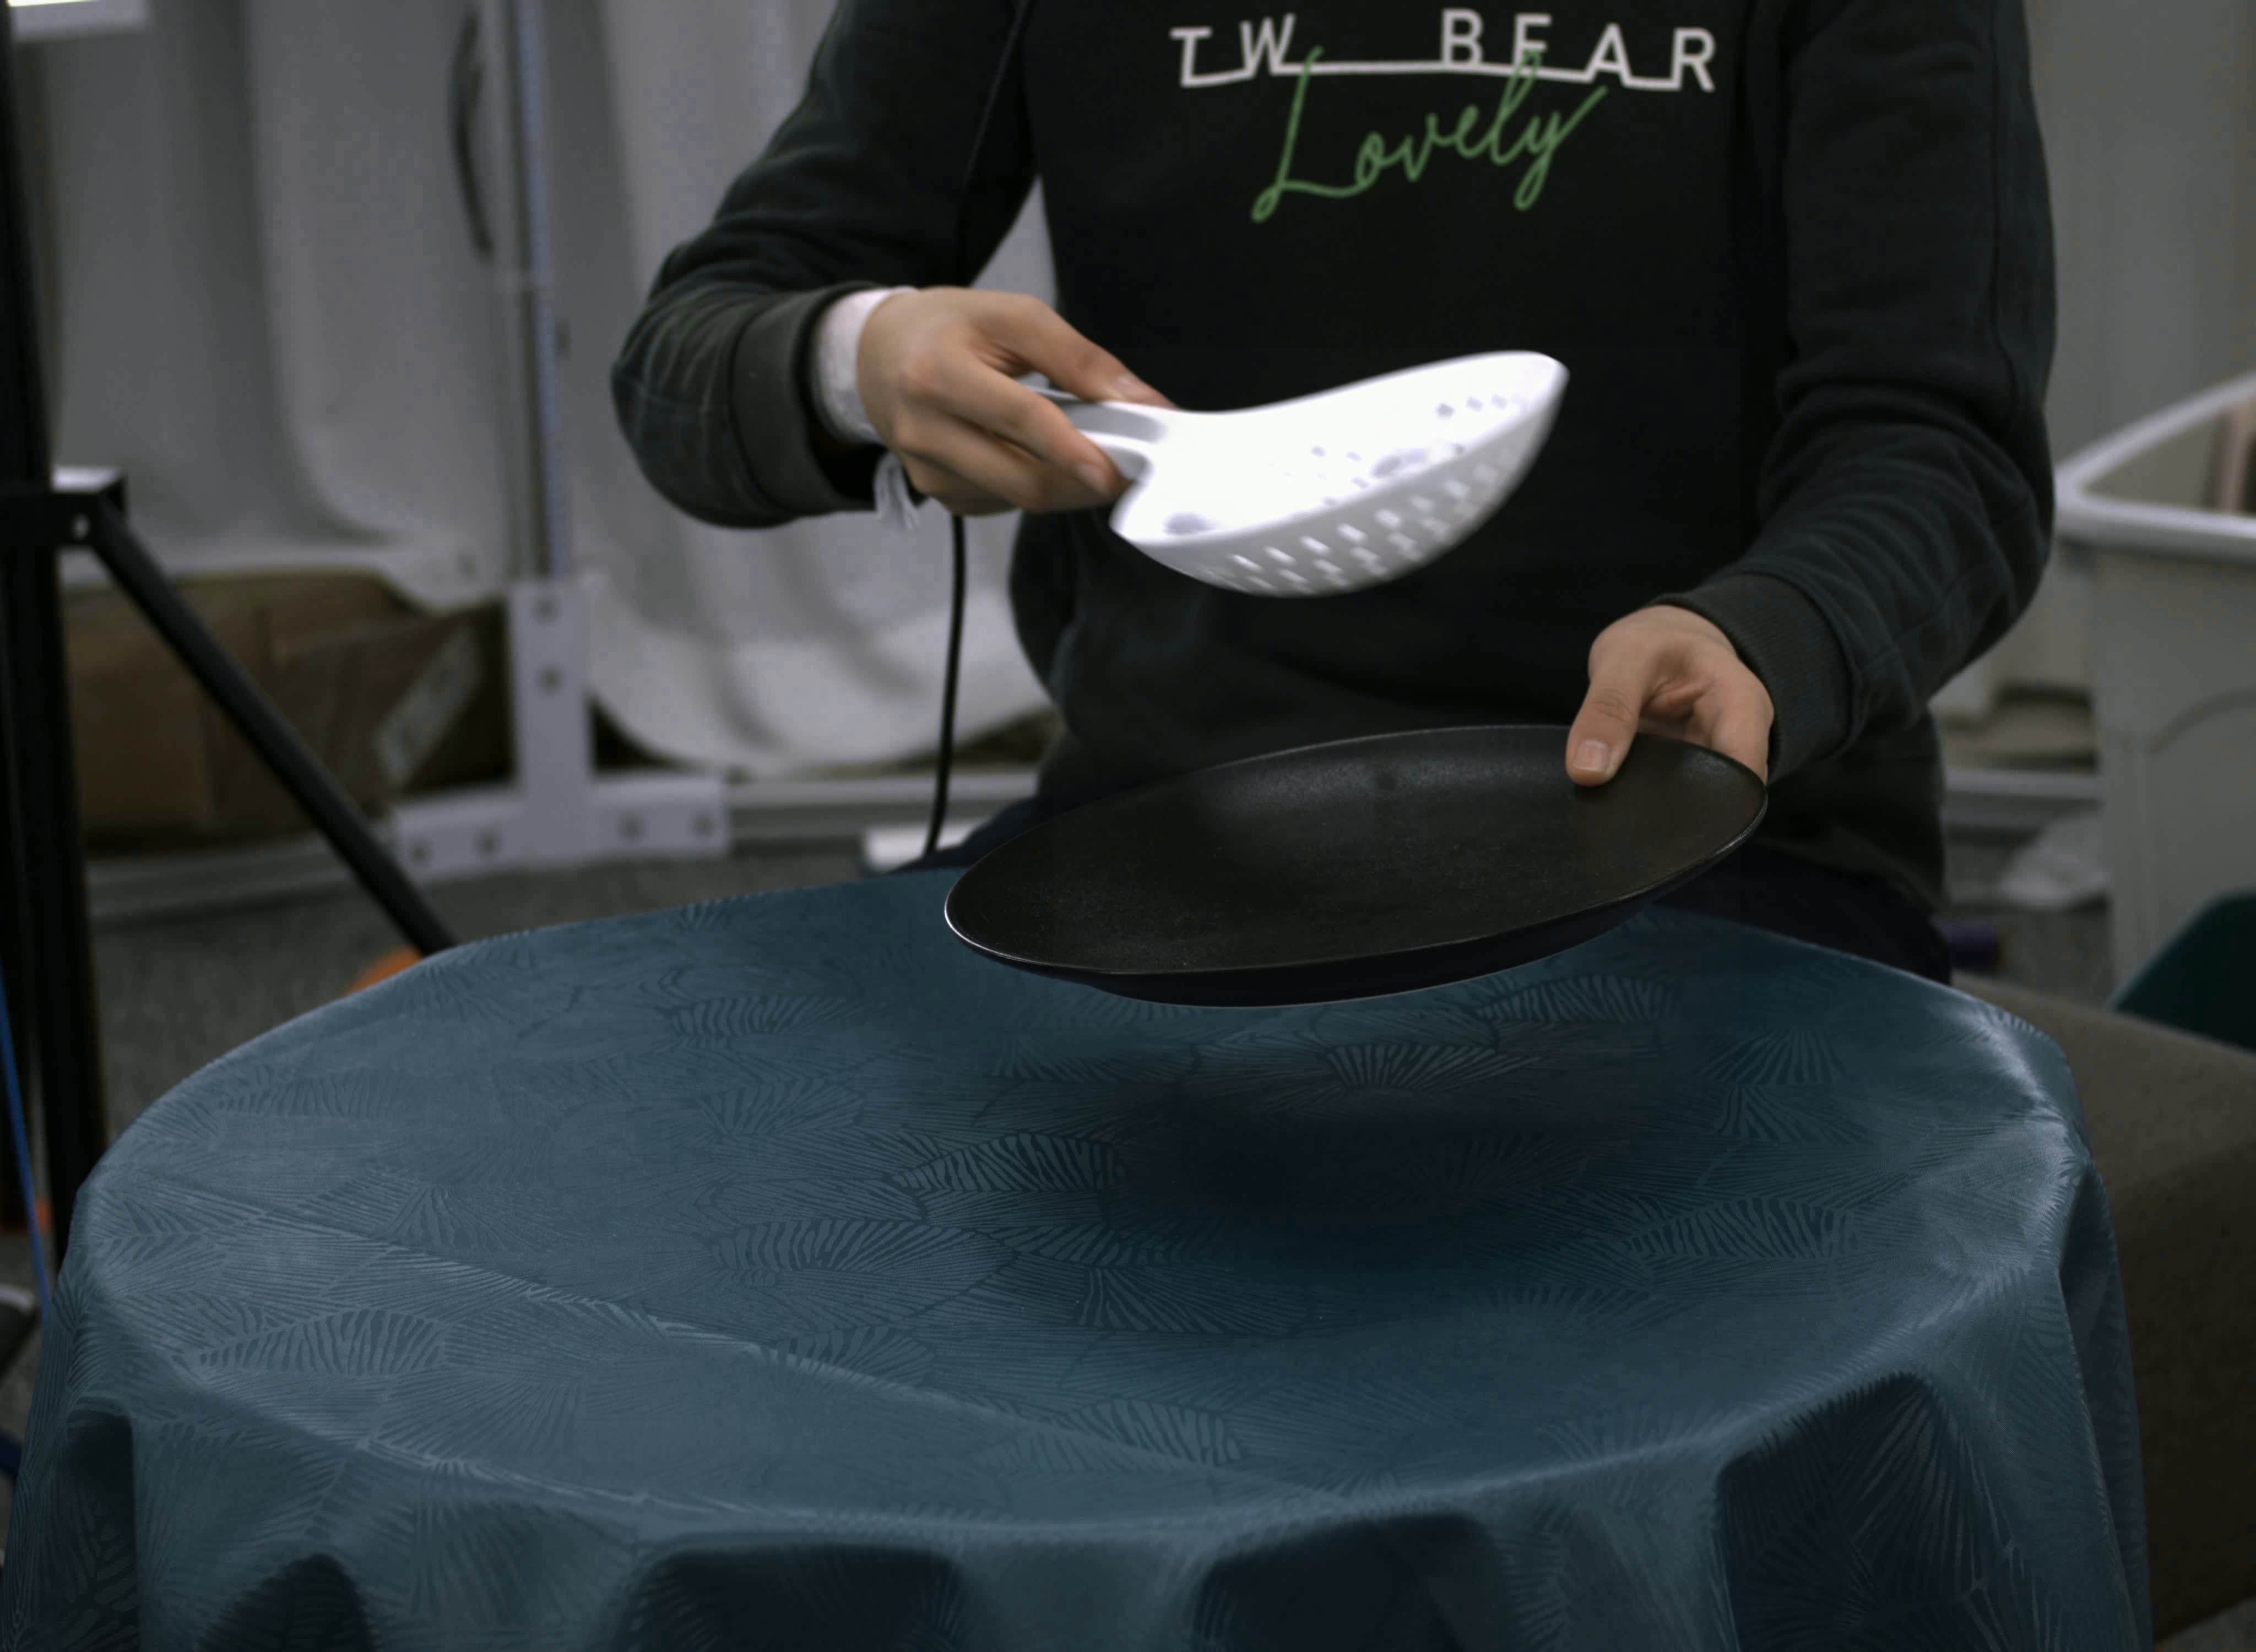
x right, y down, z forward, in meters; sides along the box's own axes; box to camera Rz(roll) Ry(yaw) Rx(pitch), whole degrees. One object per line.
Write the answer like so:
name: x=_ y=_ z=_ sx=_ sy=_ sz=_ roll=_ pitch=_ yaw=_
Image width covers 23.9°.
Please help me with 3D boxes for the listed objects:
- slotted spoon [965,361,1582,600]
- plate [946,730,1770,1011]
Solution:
slotted spoon: x=0.025 y=-0.114 z=1.635 sx=0.134 sy=0.045 sz=0.356 roll=-26 pitch=21 yaw=-18
plate: x=0.068 y=0.015 z=1.559 sx=0.243 sy=0.023 sz=0.245 roll=-9 pitch=15 yaw=1
